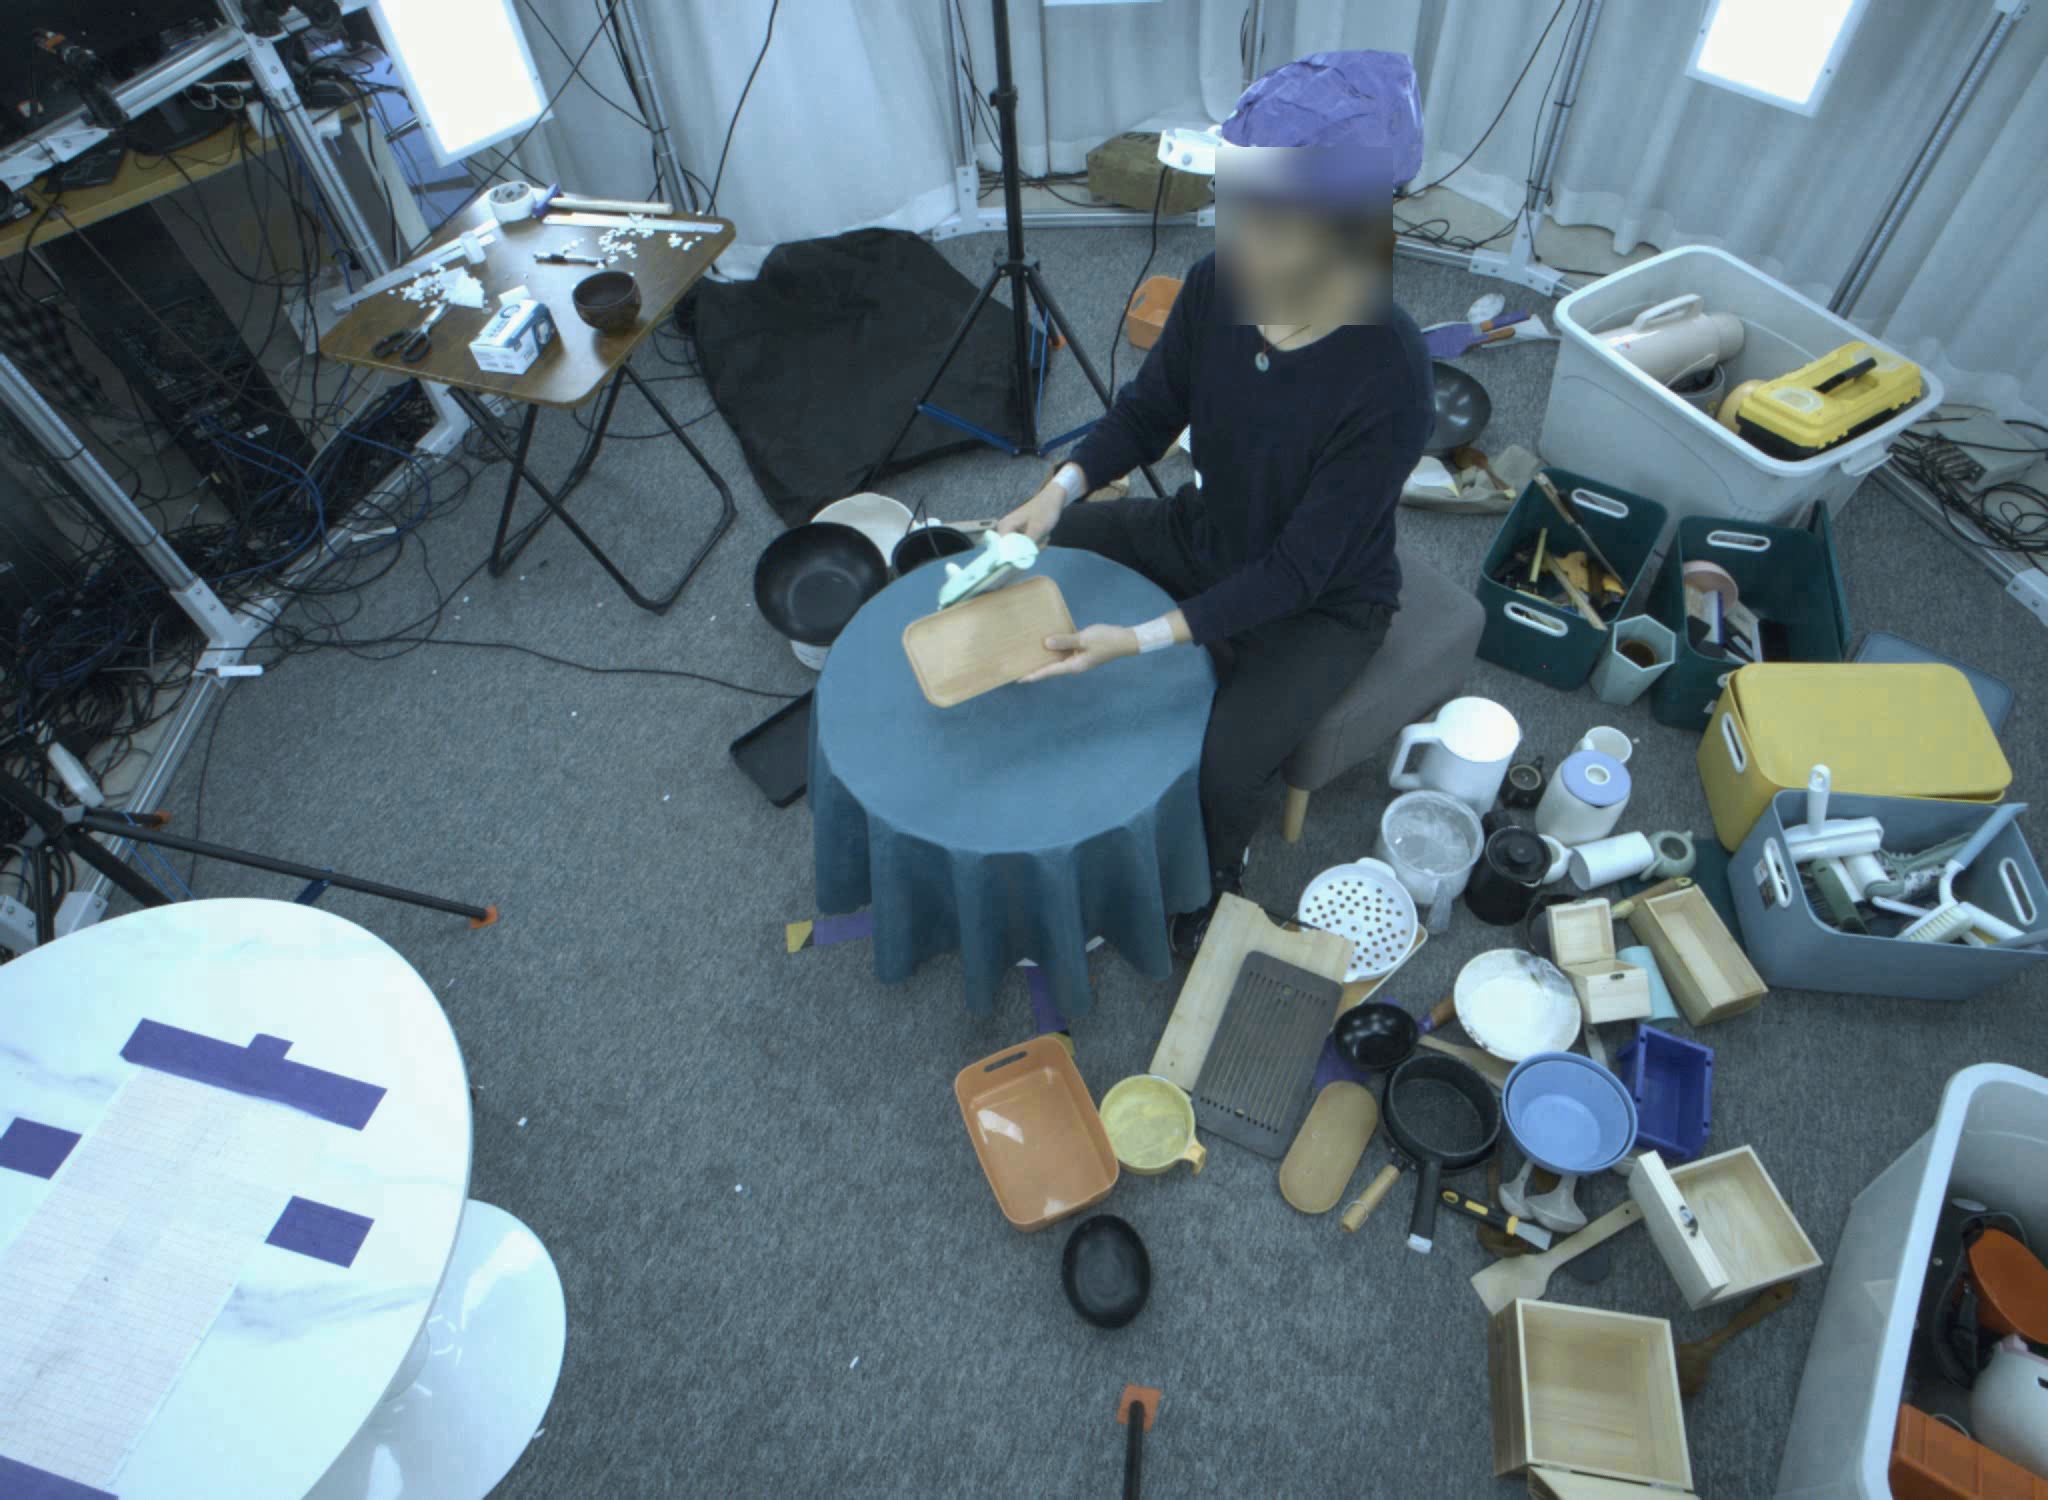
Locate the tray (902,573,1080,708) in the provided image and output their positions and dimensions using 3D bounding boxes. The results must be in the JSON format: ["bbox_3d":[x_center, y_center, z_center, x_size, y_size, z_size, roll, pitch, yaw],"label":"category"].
[{"bbox_3d":[-0.044,-0.154,1.712,0.253,0.022,0.131,-24,97,-24],"label":"tray"}]

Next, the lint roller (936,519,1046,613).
[{"bbox_3d":[-0.038,-0.289,1.749,0.083,0.196,0.183,41,57,-16],"label":"lint roller"}]
